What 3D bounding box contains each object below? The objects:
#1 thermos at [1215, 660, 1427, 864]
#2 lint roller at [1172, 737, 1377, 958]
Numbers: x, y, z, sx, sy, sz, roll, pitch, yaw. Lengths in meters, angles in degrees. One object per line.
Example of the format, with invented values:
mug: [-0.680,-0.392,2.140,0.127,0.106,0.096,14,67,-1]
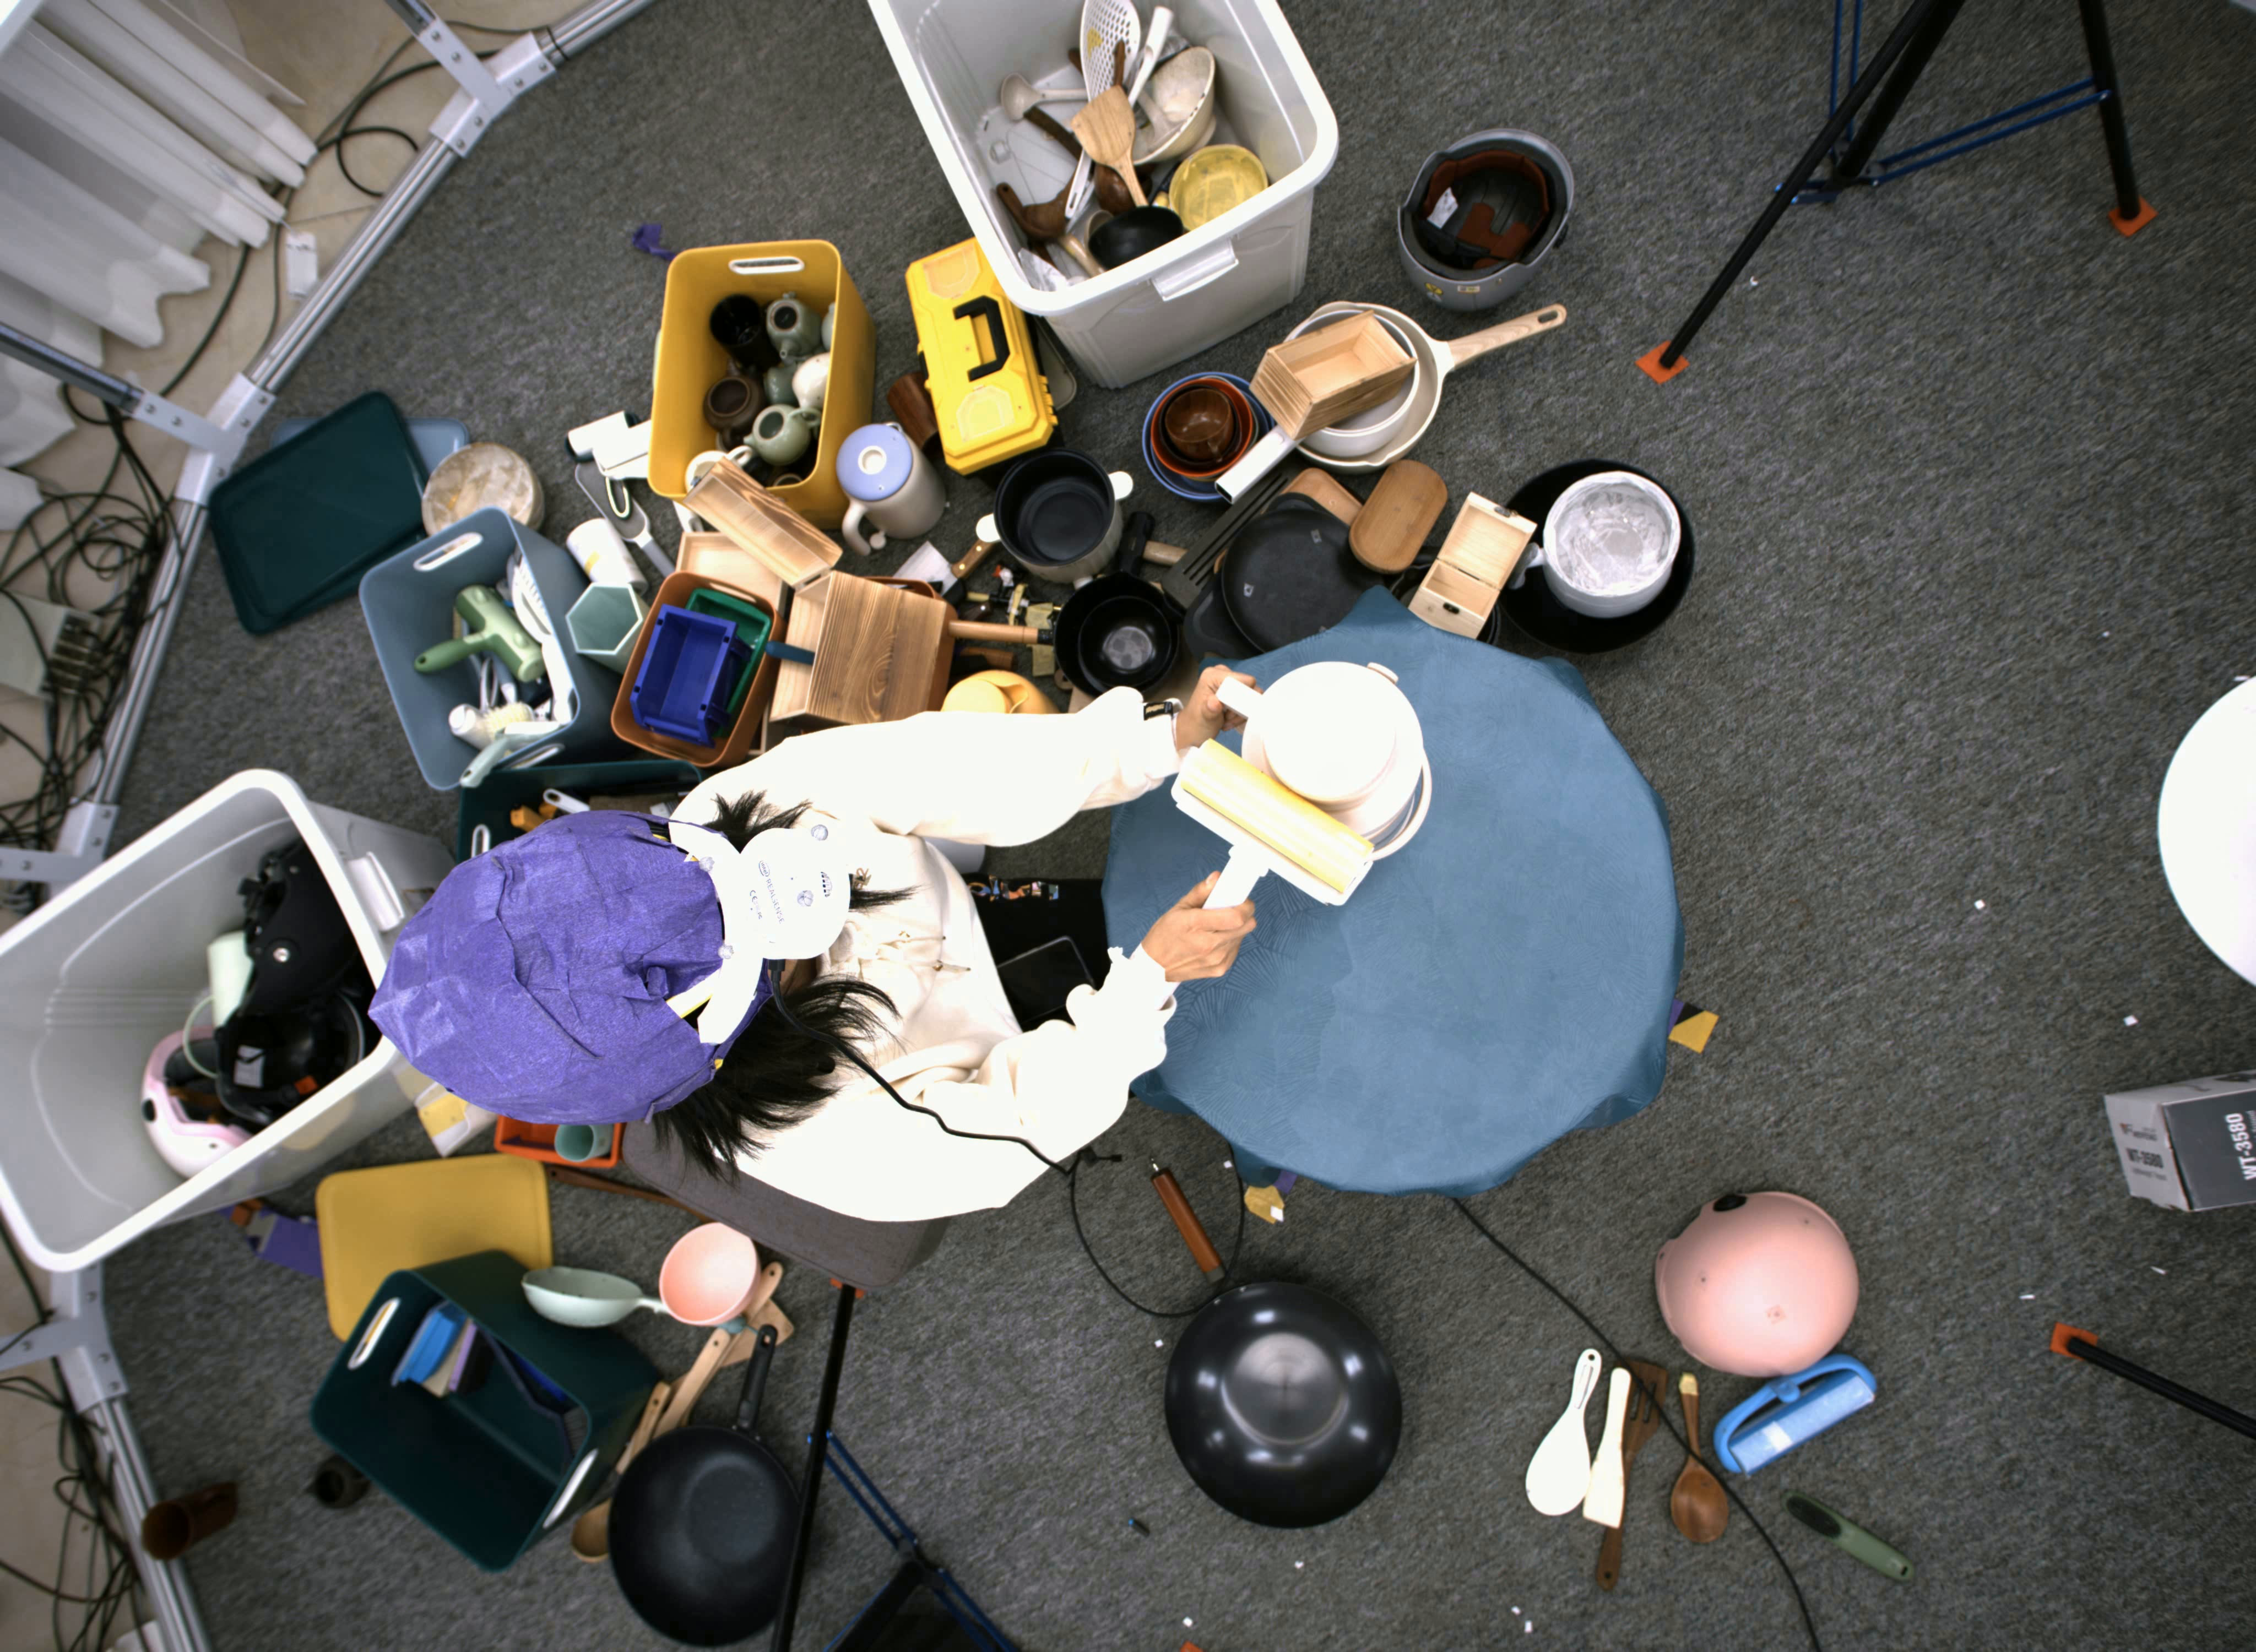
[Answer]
thermos: [0.181,-0.065,1.283,0.206,0.407,0.175,32,91,11]
lint roller: [0.094,0.044,1.166,0.174,0.050,0.196,32,121,8]
